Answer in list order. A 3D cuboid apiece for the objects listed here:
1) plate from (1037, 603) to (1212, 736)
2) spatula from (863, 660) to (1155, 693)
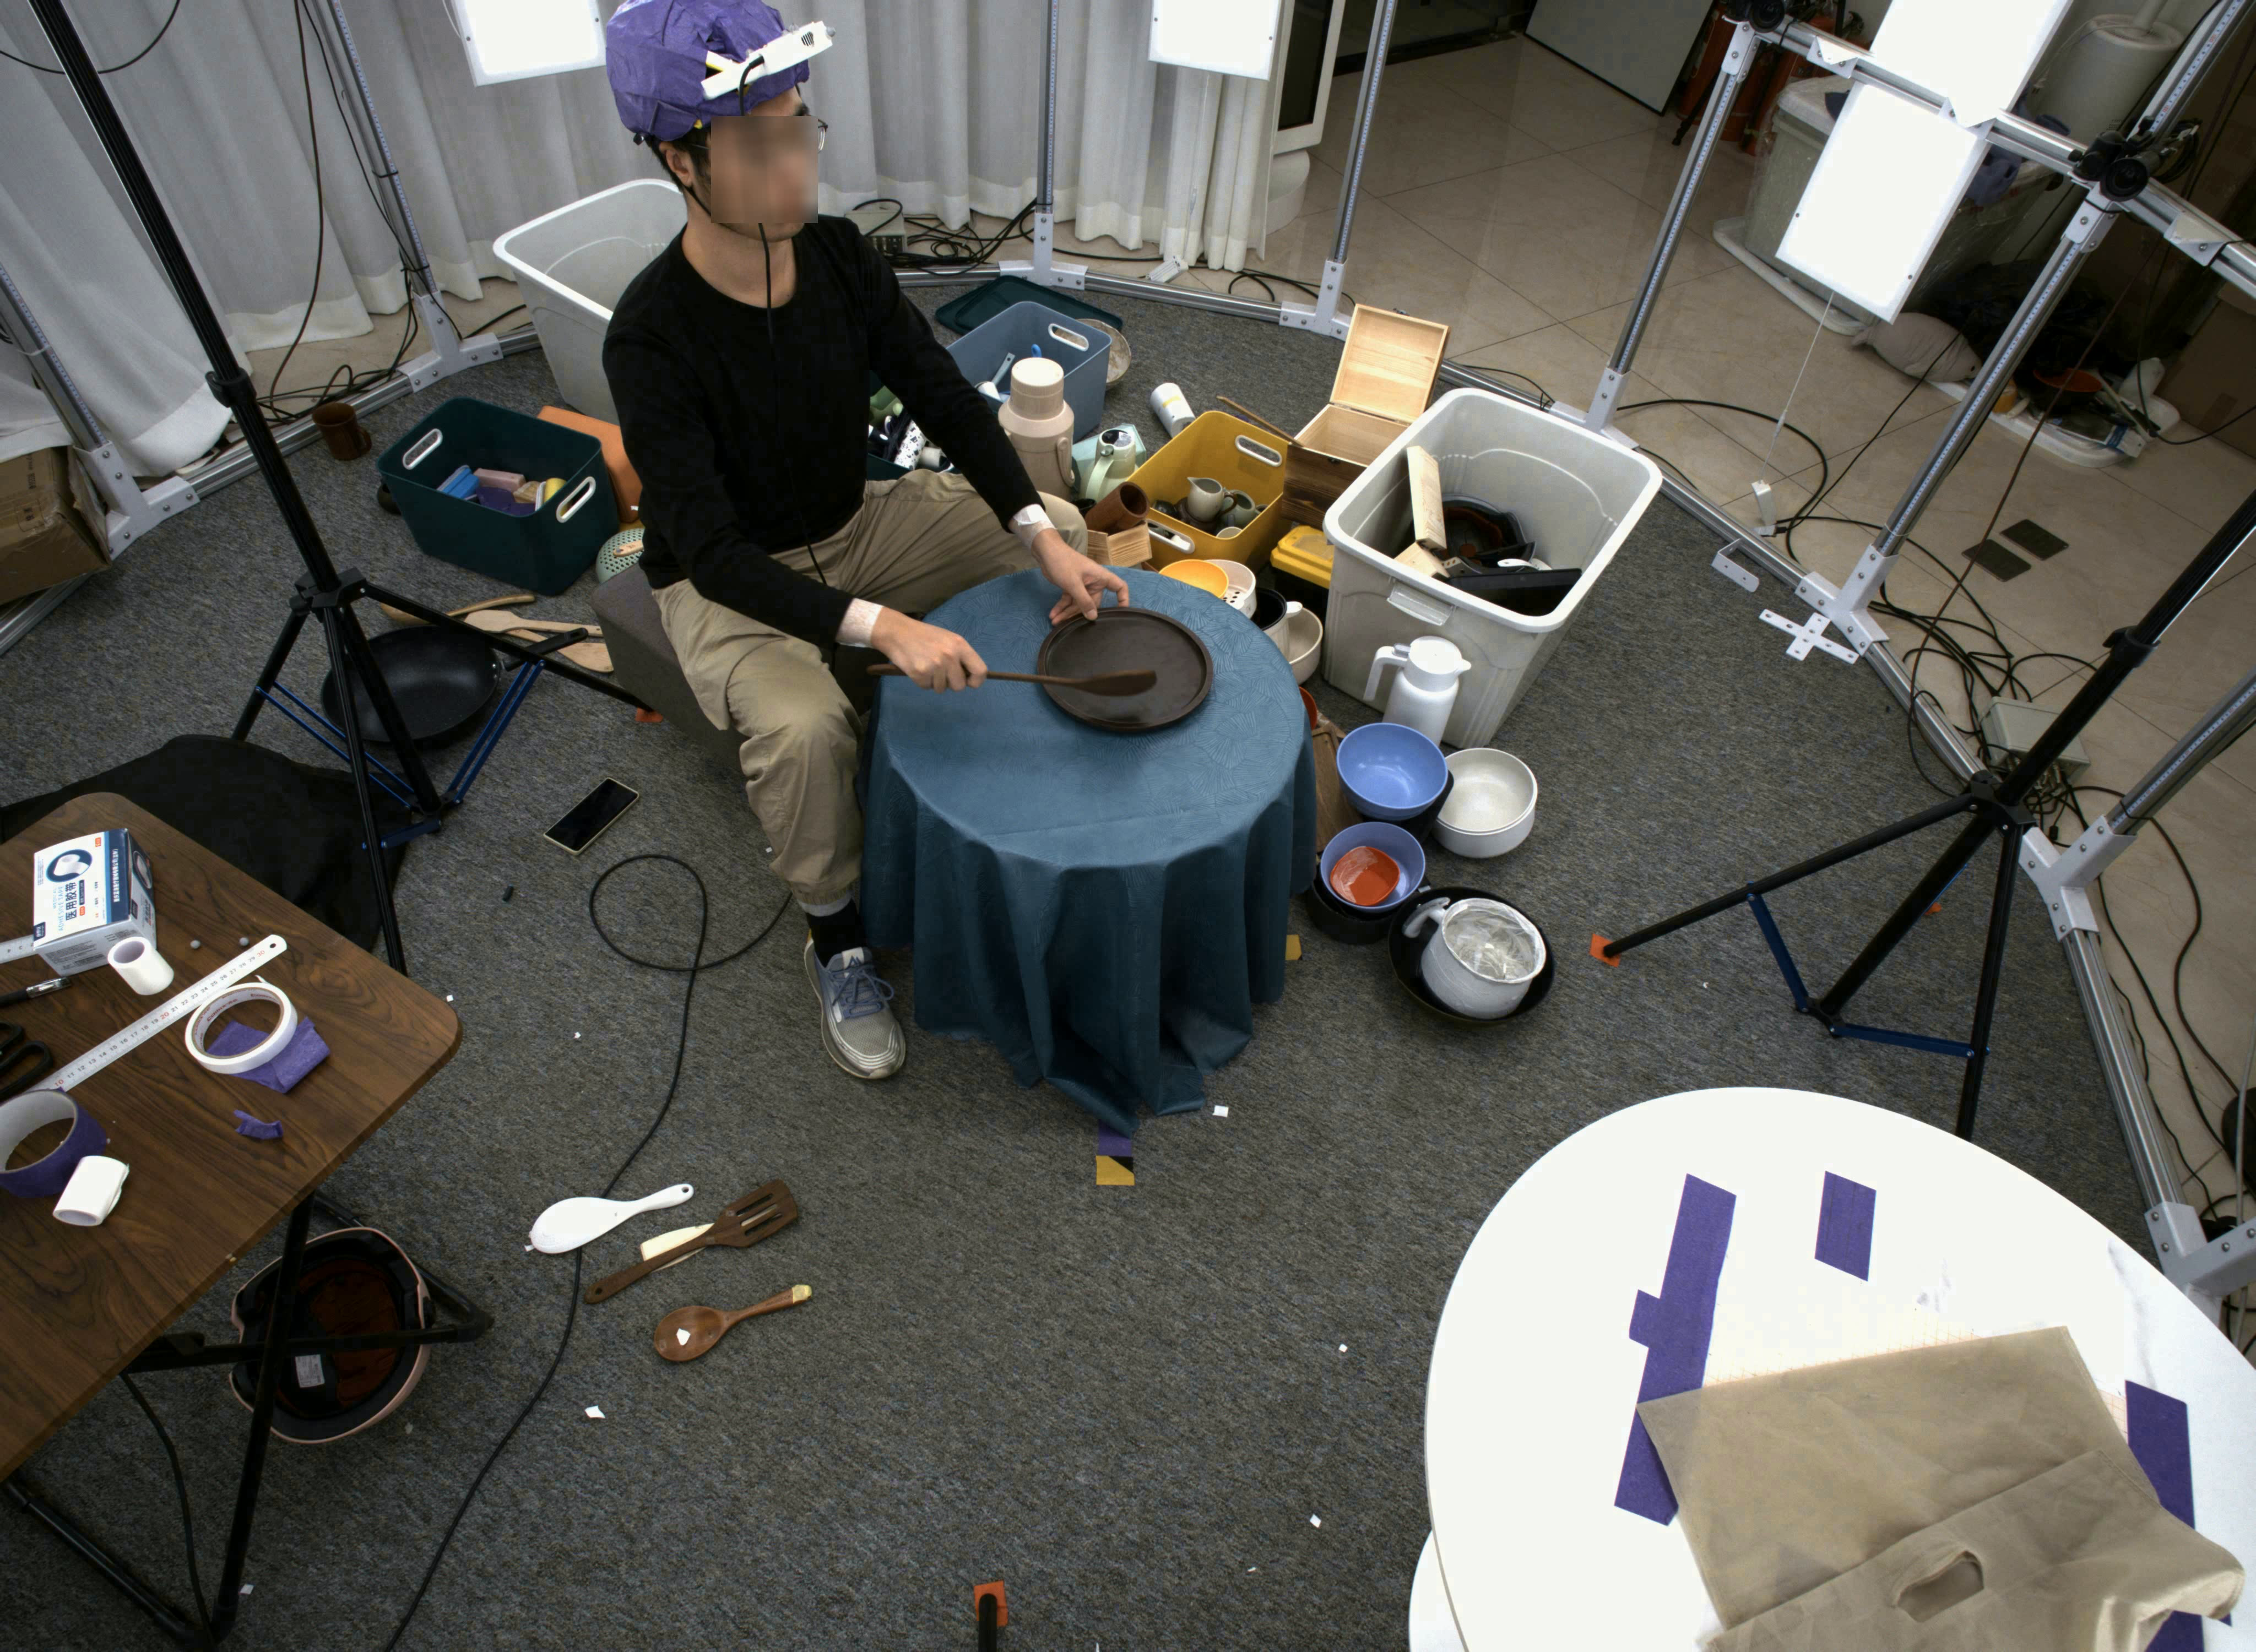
[{"bbox_3d":[-0.005,-0.225,1.851,0.254,0.028,0.261,2,51,-2],"label":"plate"},{"bbox_3d":[-0.156,-0.203,1.716,0.385,0.095,0.016,3,77,-7],"label":"spatula"}]
